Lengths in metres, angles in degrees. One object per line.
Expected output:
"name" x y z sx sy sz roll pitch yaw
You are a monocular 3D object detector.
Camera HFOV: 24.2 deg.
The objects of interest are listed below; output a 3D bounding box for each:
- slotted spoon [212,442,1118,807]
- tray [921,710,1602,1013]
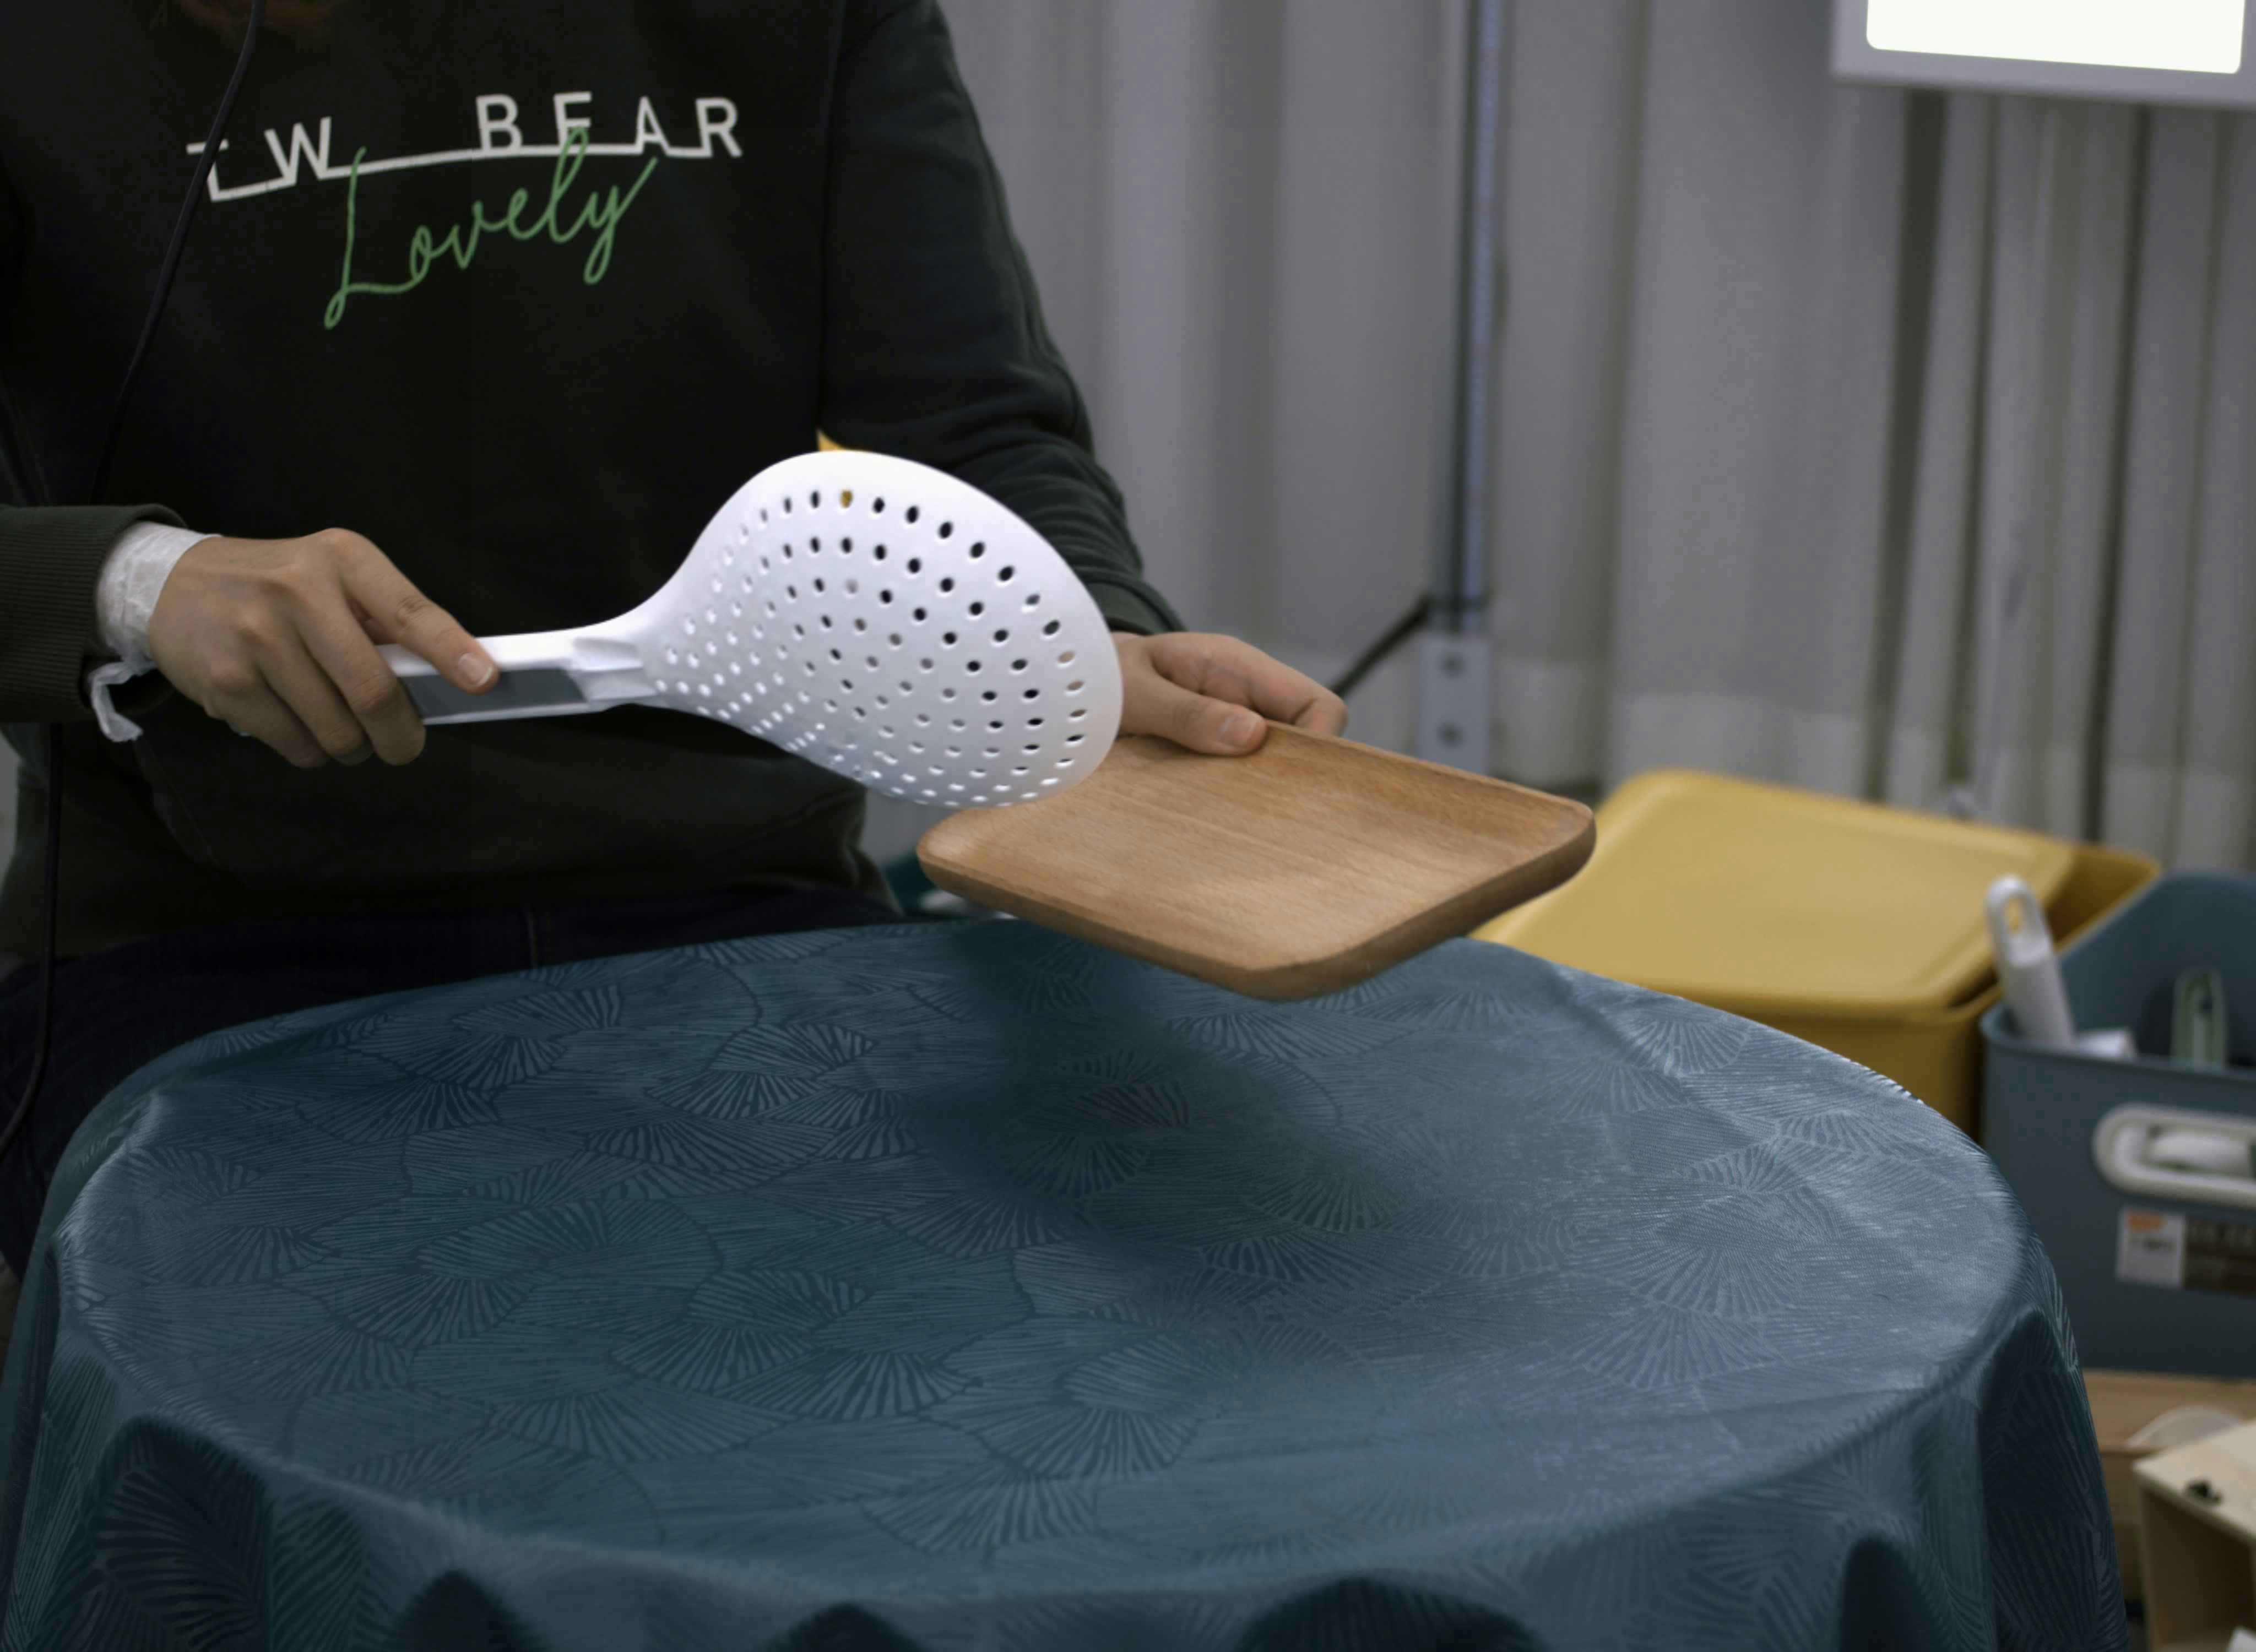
"slotted spoon" -0.155 -0.050 1.639 0.346 0.138 0.045 0 40 38
"tray" 0.038 0.009 1.634 0.131 0.023 0.248 -23 19 -24
